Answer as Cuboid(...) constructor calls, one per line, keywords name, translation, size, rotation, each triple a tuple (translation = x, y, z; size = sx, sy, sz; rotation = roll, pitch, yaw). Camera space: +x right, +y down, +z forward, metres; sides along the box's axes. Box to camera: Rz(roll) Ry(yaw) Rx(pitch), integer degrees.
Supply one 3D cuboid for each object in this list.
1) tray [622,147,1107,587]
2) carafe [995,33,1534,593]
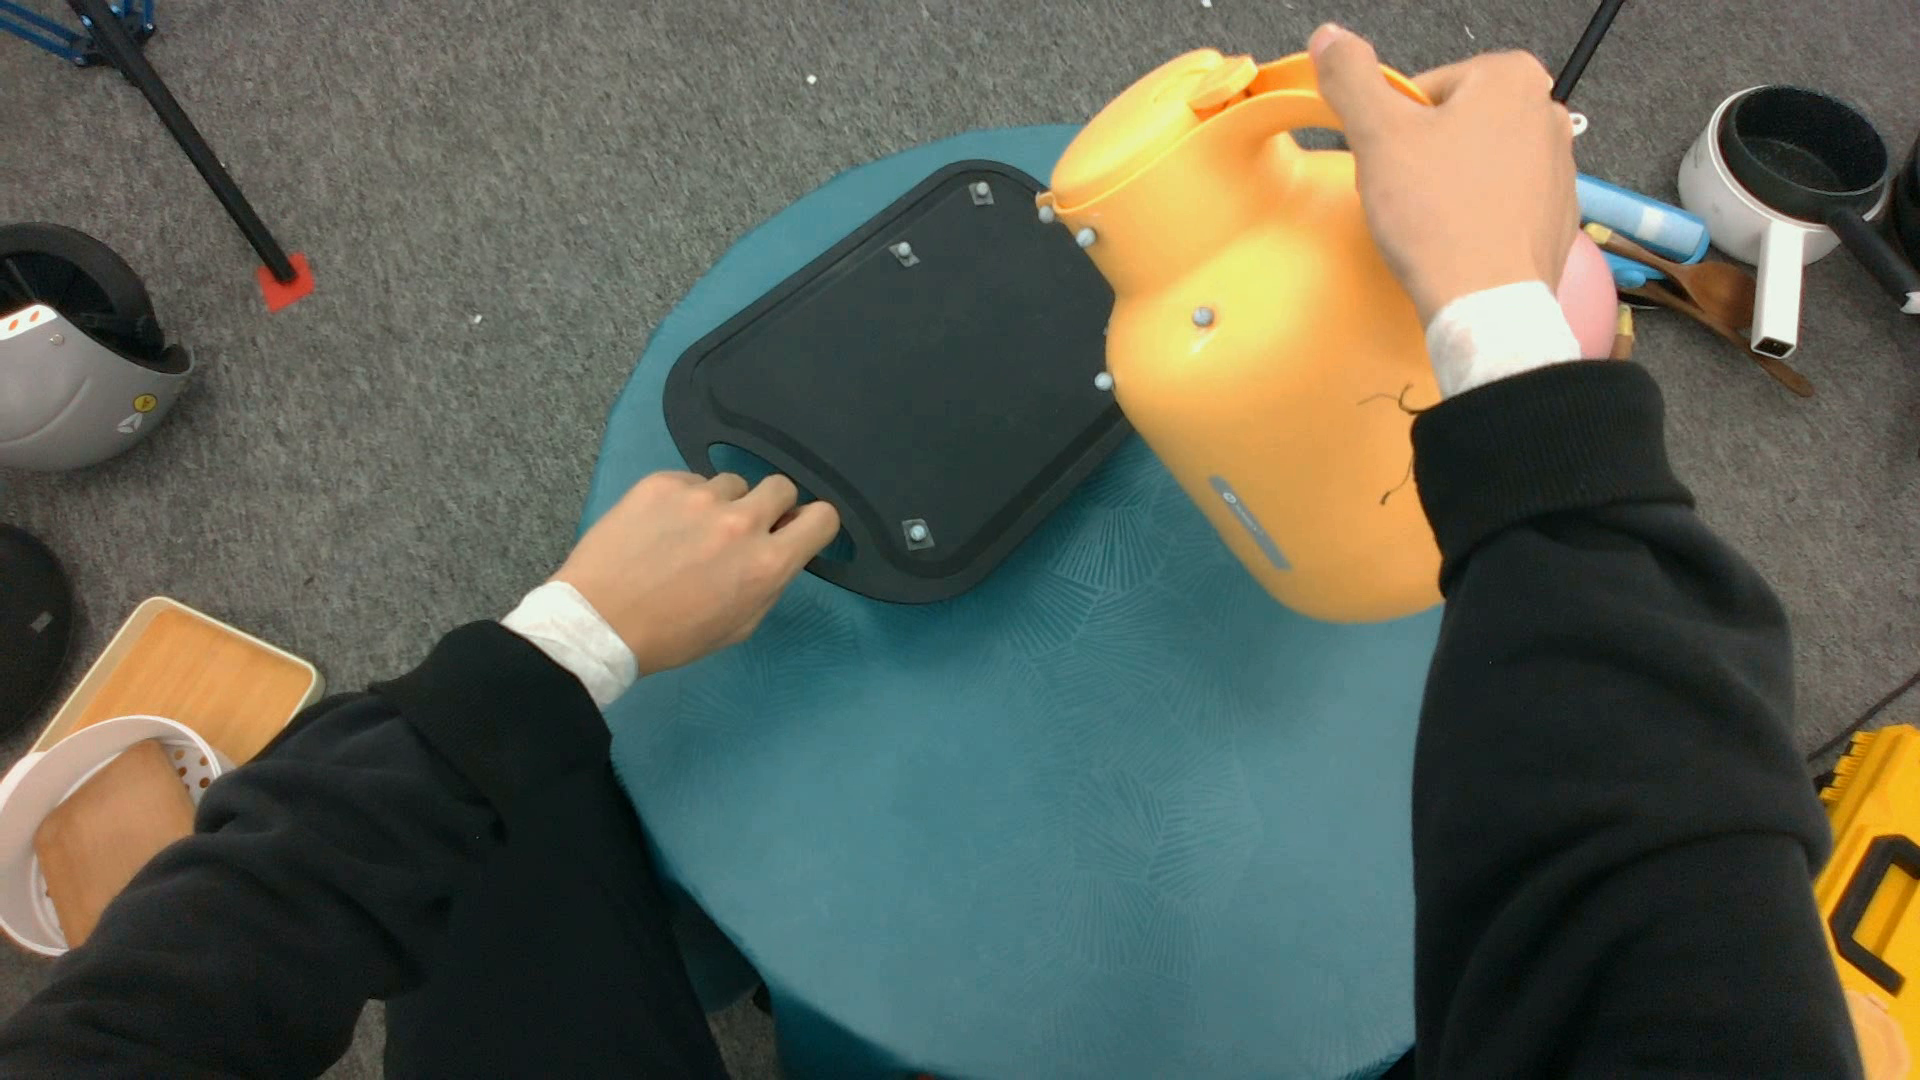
Cuboid(name="tray", translation=(-0.028, -0.109, 0.780), size=(0.211, 0.010, 0.327), rotation=(38, 56, 12))
Cuboid(name="carafe", translation=(0.143, -0.106, 0.616), size=(0.260, 0.202, 0.164), rotation=(43, 67, -21))
